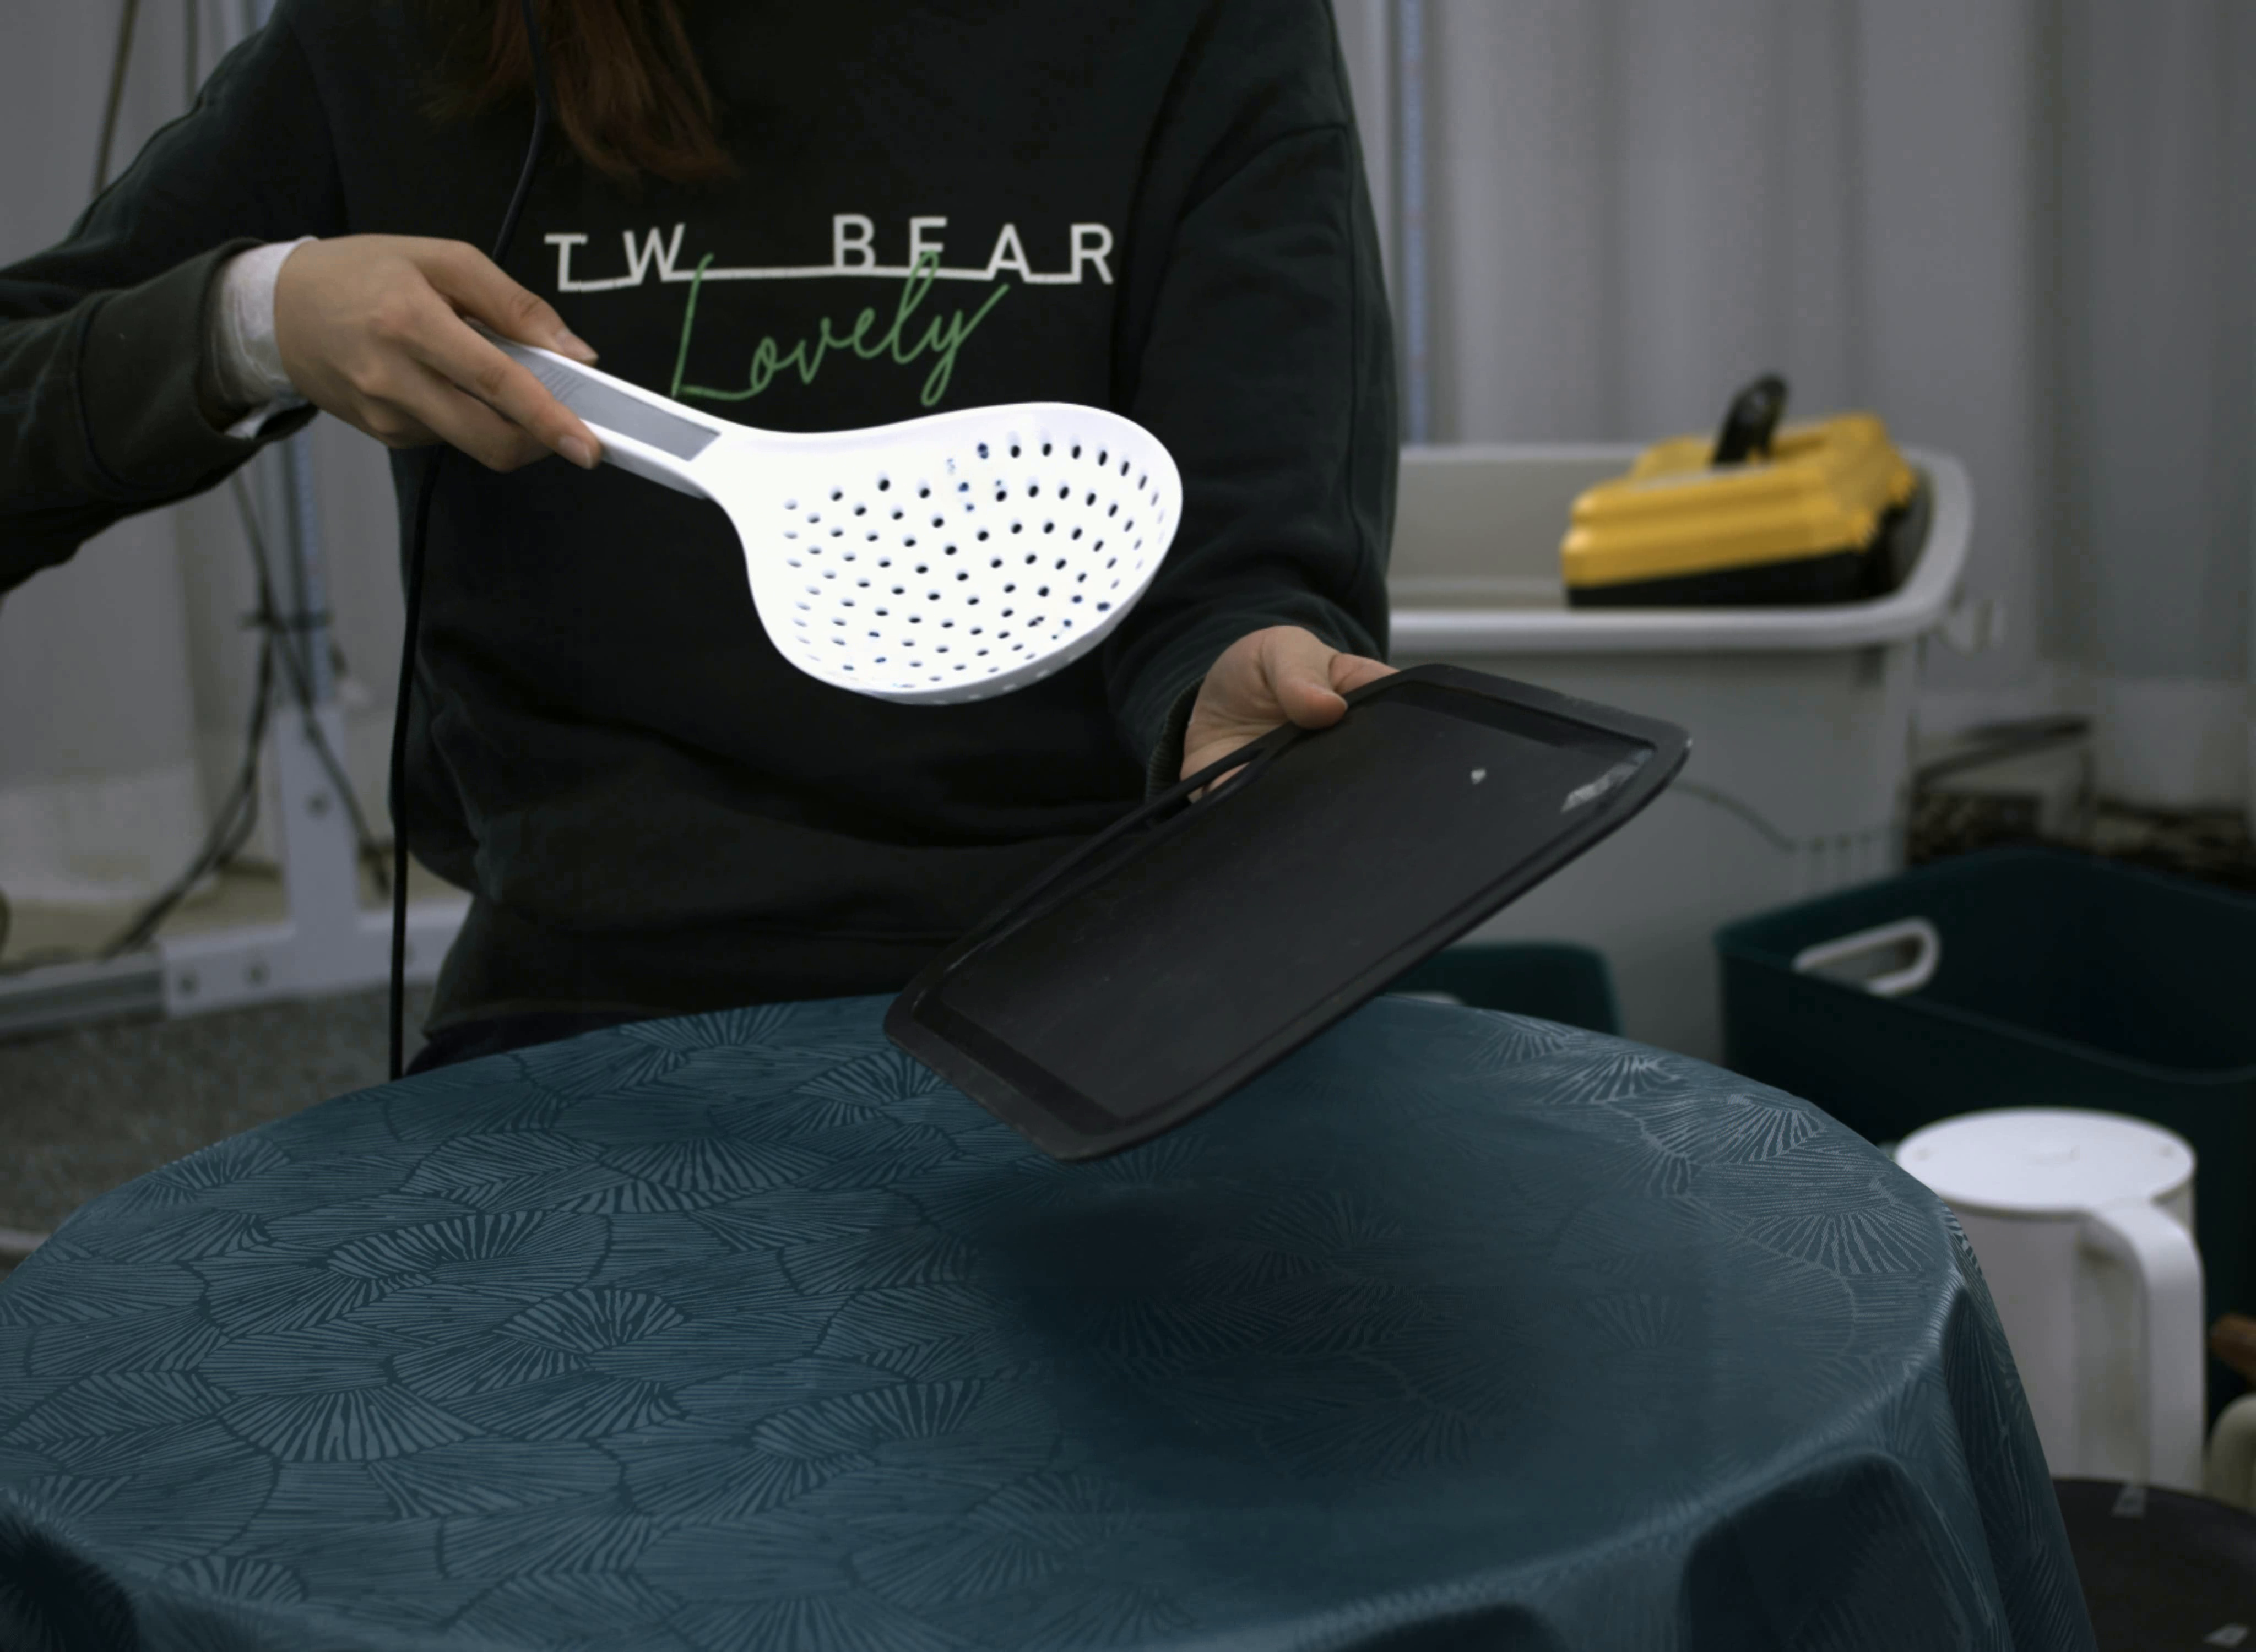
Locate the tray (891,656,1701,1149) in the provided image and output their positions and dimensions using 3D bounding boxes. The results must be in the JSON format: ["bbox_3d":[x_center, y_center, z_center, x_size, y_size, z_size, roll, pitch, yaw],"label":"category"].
[{"bbox_3d":[0.037,0.016,1.586,0.211,0.010,0.327,-34,13,-9],"label":"tray"}]

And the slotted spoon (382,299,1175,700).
[{"bbox_3d":[-0.125,-0.116,1.772,0.353,0.045,0.136,27,56,37],"label":"slotted spoon"}]
